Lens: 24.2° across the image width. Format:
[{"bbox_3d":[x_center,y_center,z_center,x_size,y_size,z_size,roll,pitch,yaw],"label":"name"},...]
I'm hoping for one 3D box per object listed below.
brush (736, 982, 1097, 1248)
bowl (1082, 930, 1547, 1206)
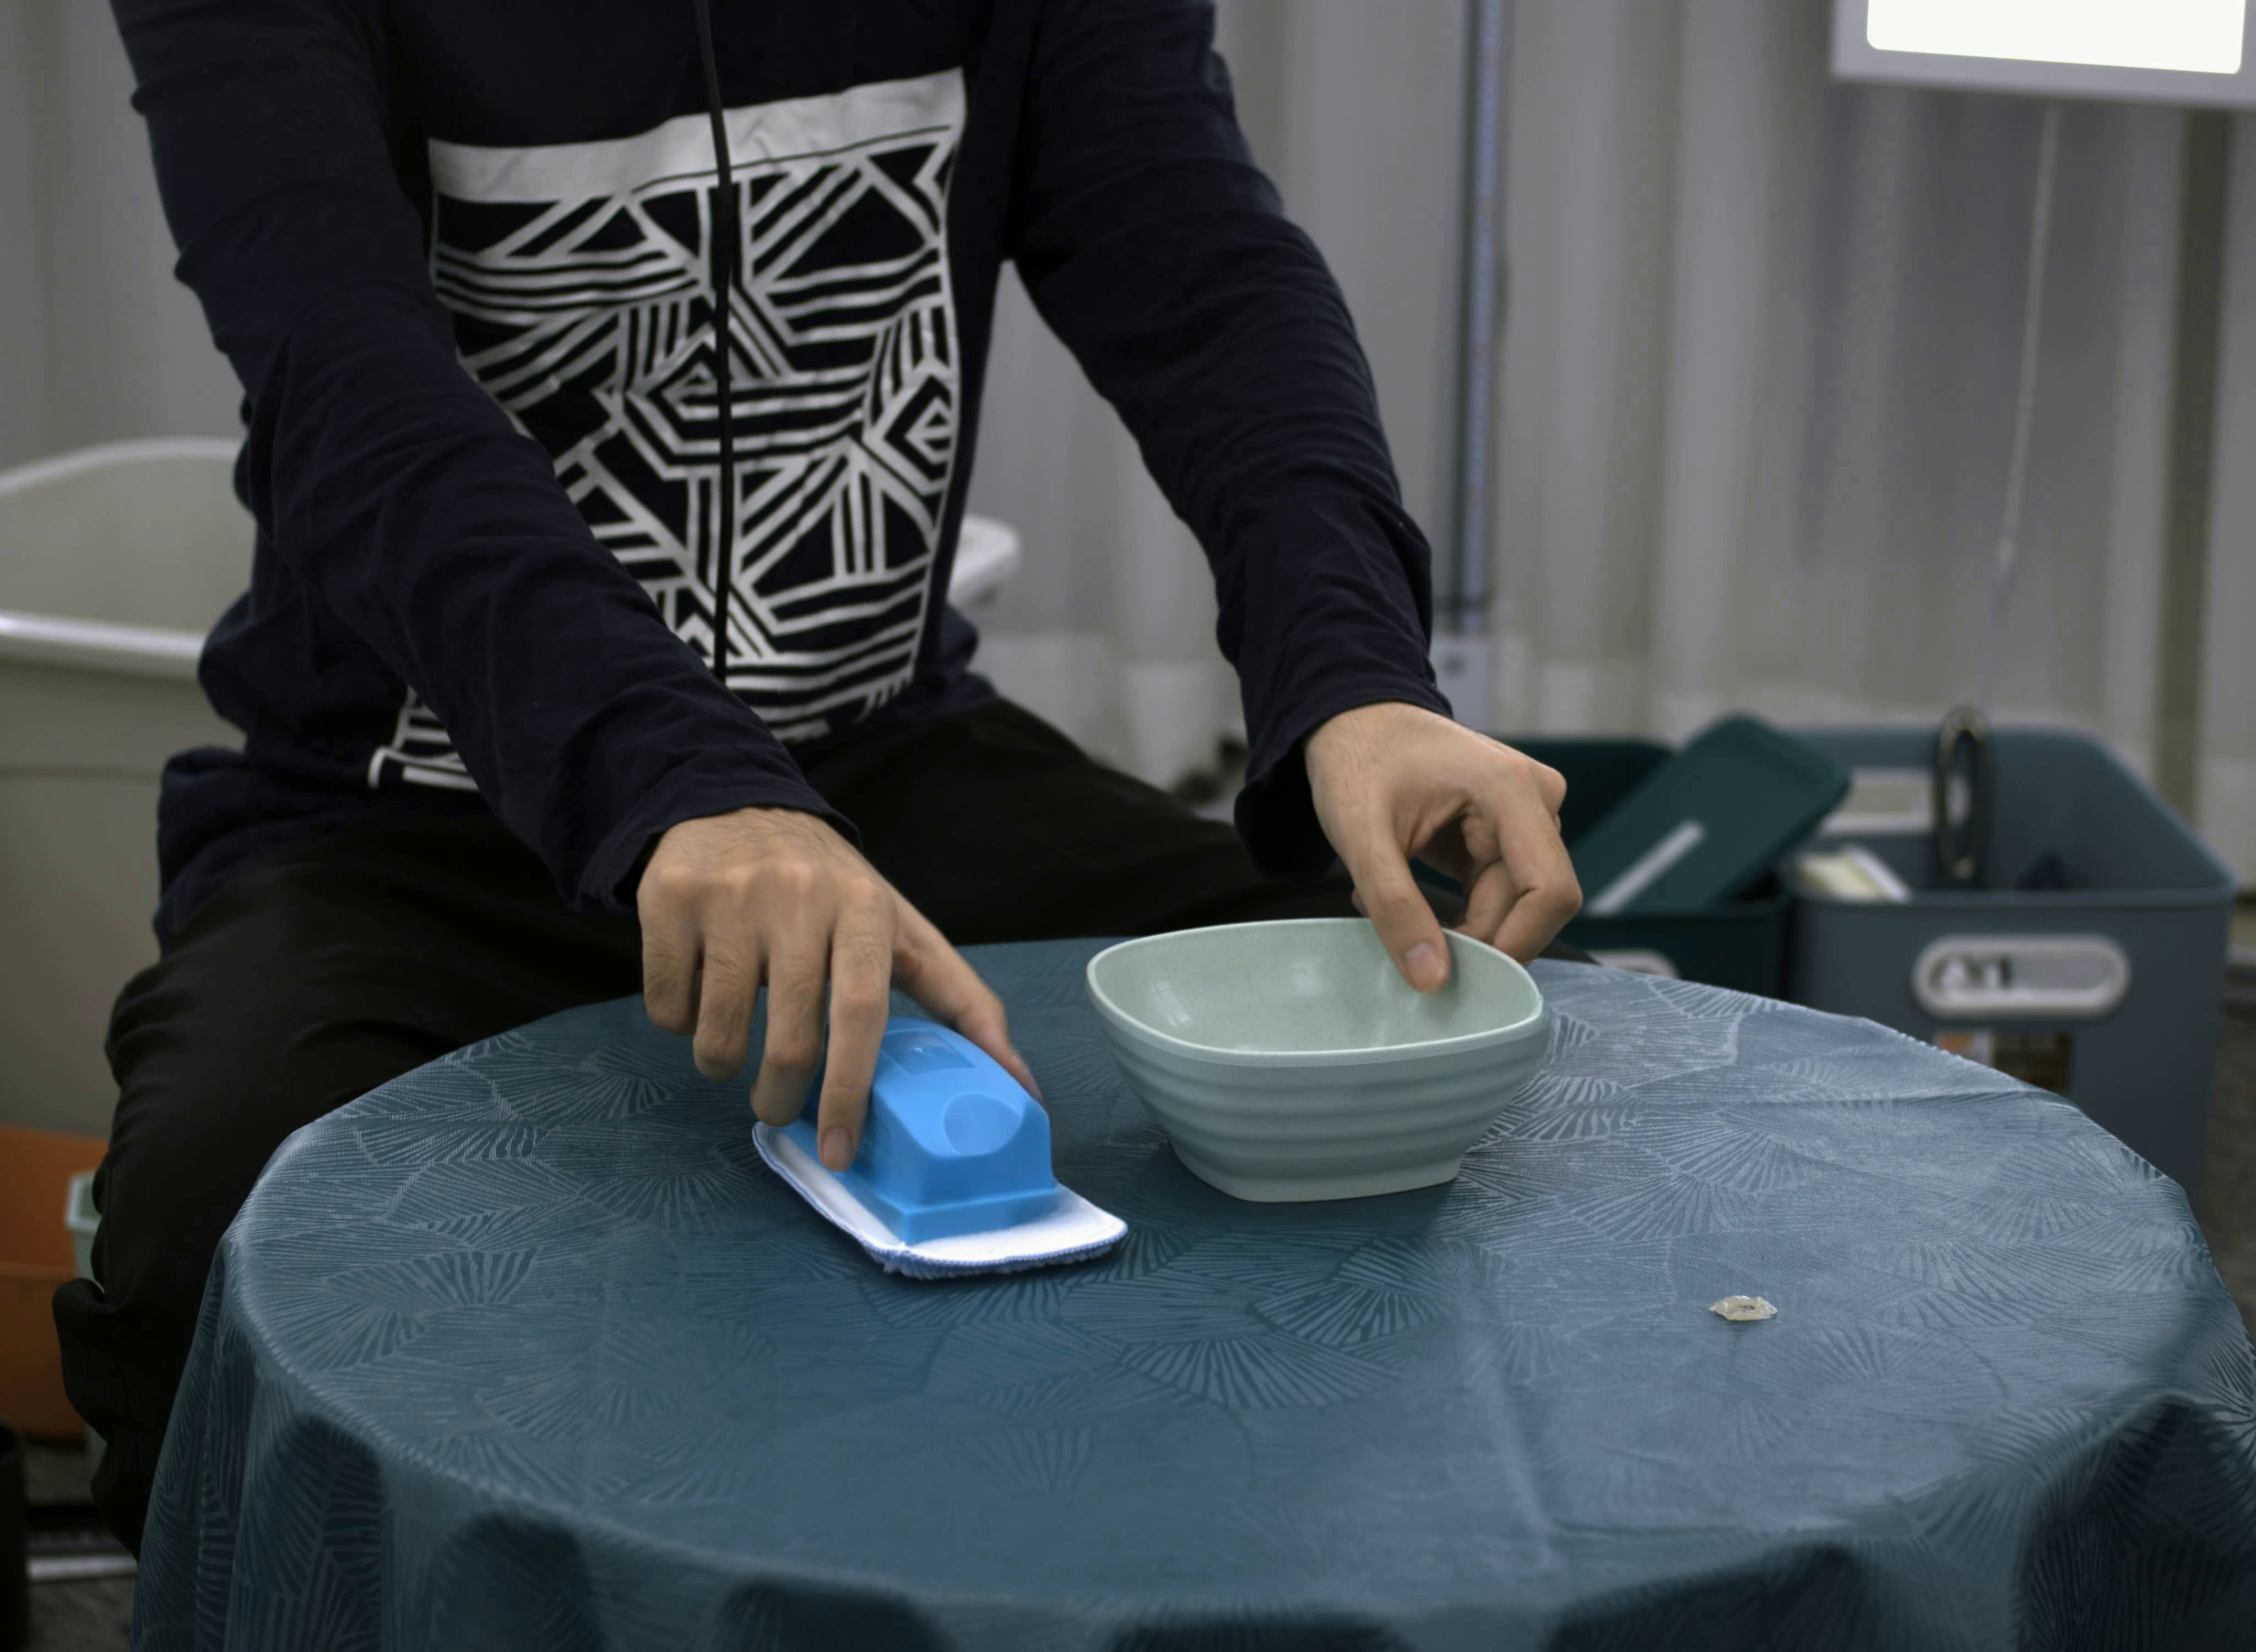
[{"bbox_3d":[-0.063,0.086,1.606,0.084,0.056,0.142,-1,17,-21],"label":"brush"},{"bbox_3d":[0.057,0.078,1.652,0.151,0.059,0.151,2,14,0],"label":"bowl"}]
